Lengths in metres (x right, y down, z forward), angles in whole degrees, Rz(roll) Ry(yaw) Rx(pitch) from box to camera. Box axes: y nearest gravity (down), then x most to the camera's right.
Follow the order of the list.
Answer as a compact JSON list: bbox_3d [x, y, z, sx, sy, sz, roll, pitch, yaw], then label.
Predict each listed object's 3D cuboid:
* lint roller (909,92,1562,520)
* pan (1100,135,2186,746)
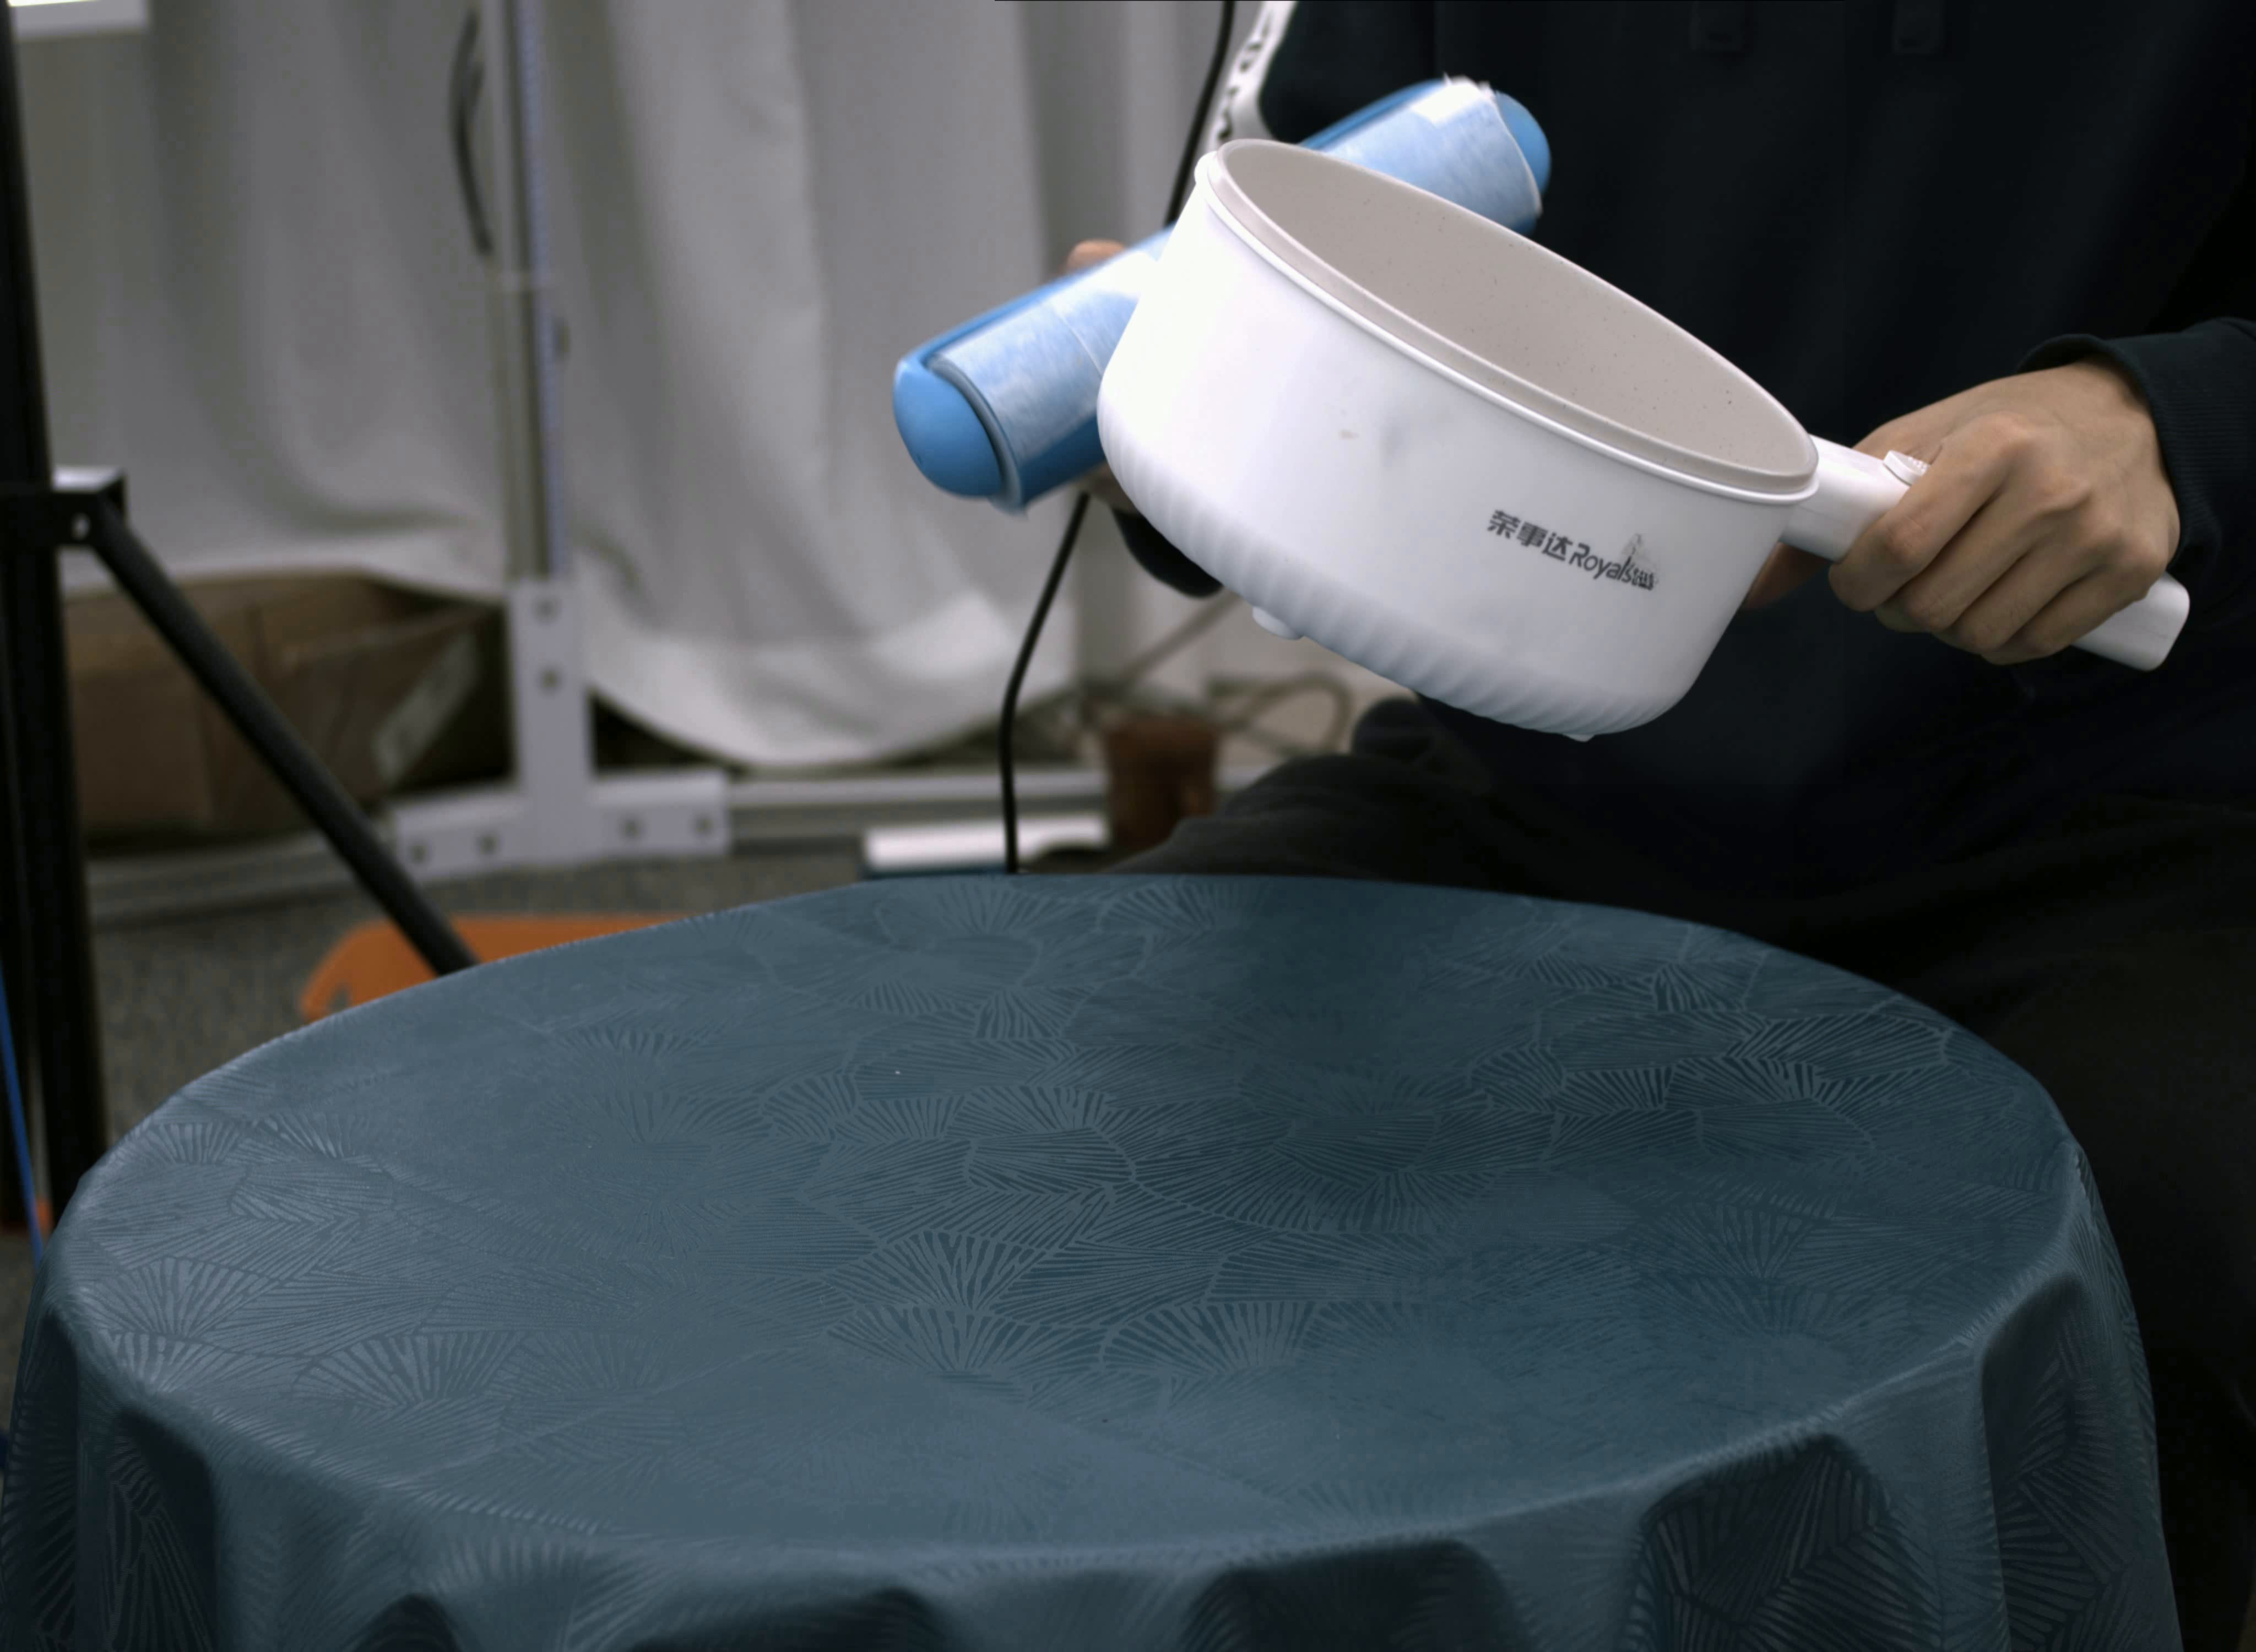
[{"bbox_3d":[0.019,-0.152,1.702,0.226,0.068,0.182,-30,0,-18],"label":"lint roller"},{"bbox_3d":[0.154,-0.084,1.568,0.346,0.102,0.205,19,19,-27],"label":"pan"}]
